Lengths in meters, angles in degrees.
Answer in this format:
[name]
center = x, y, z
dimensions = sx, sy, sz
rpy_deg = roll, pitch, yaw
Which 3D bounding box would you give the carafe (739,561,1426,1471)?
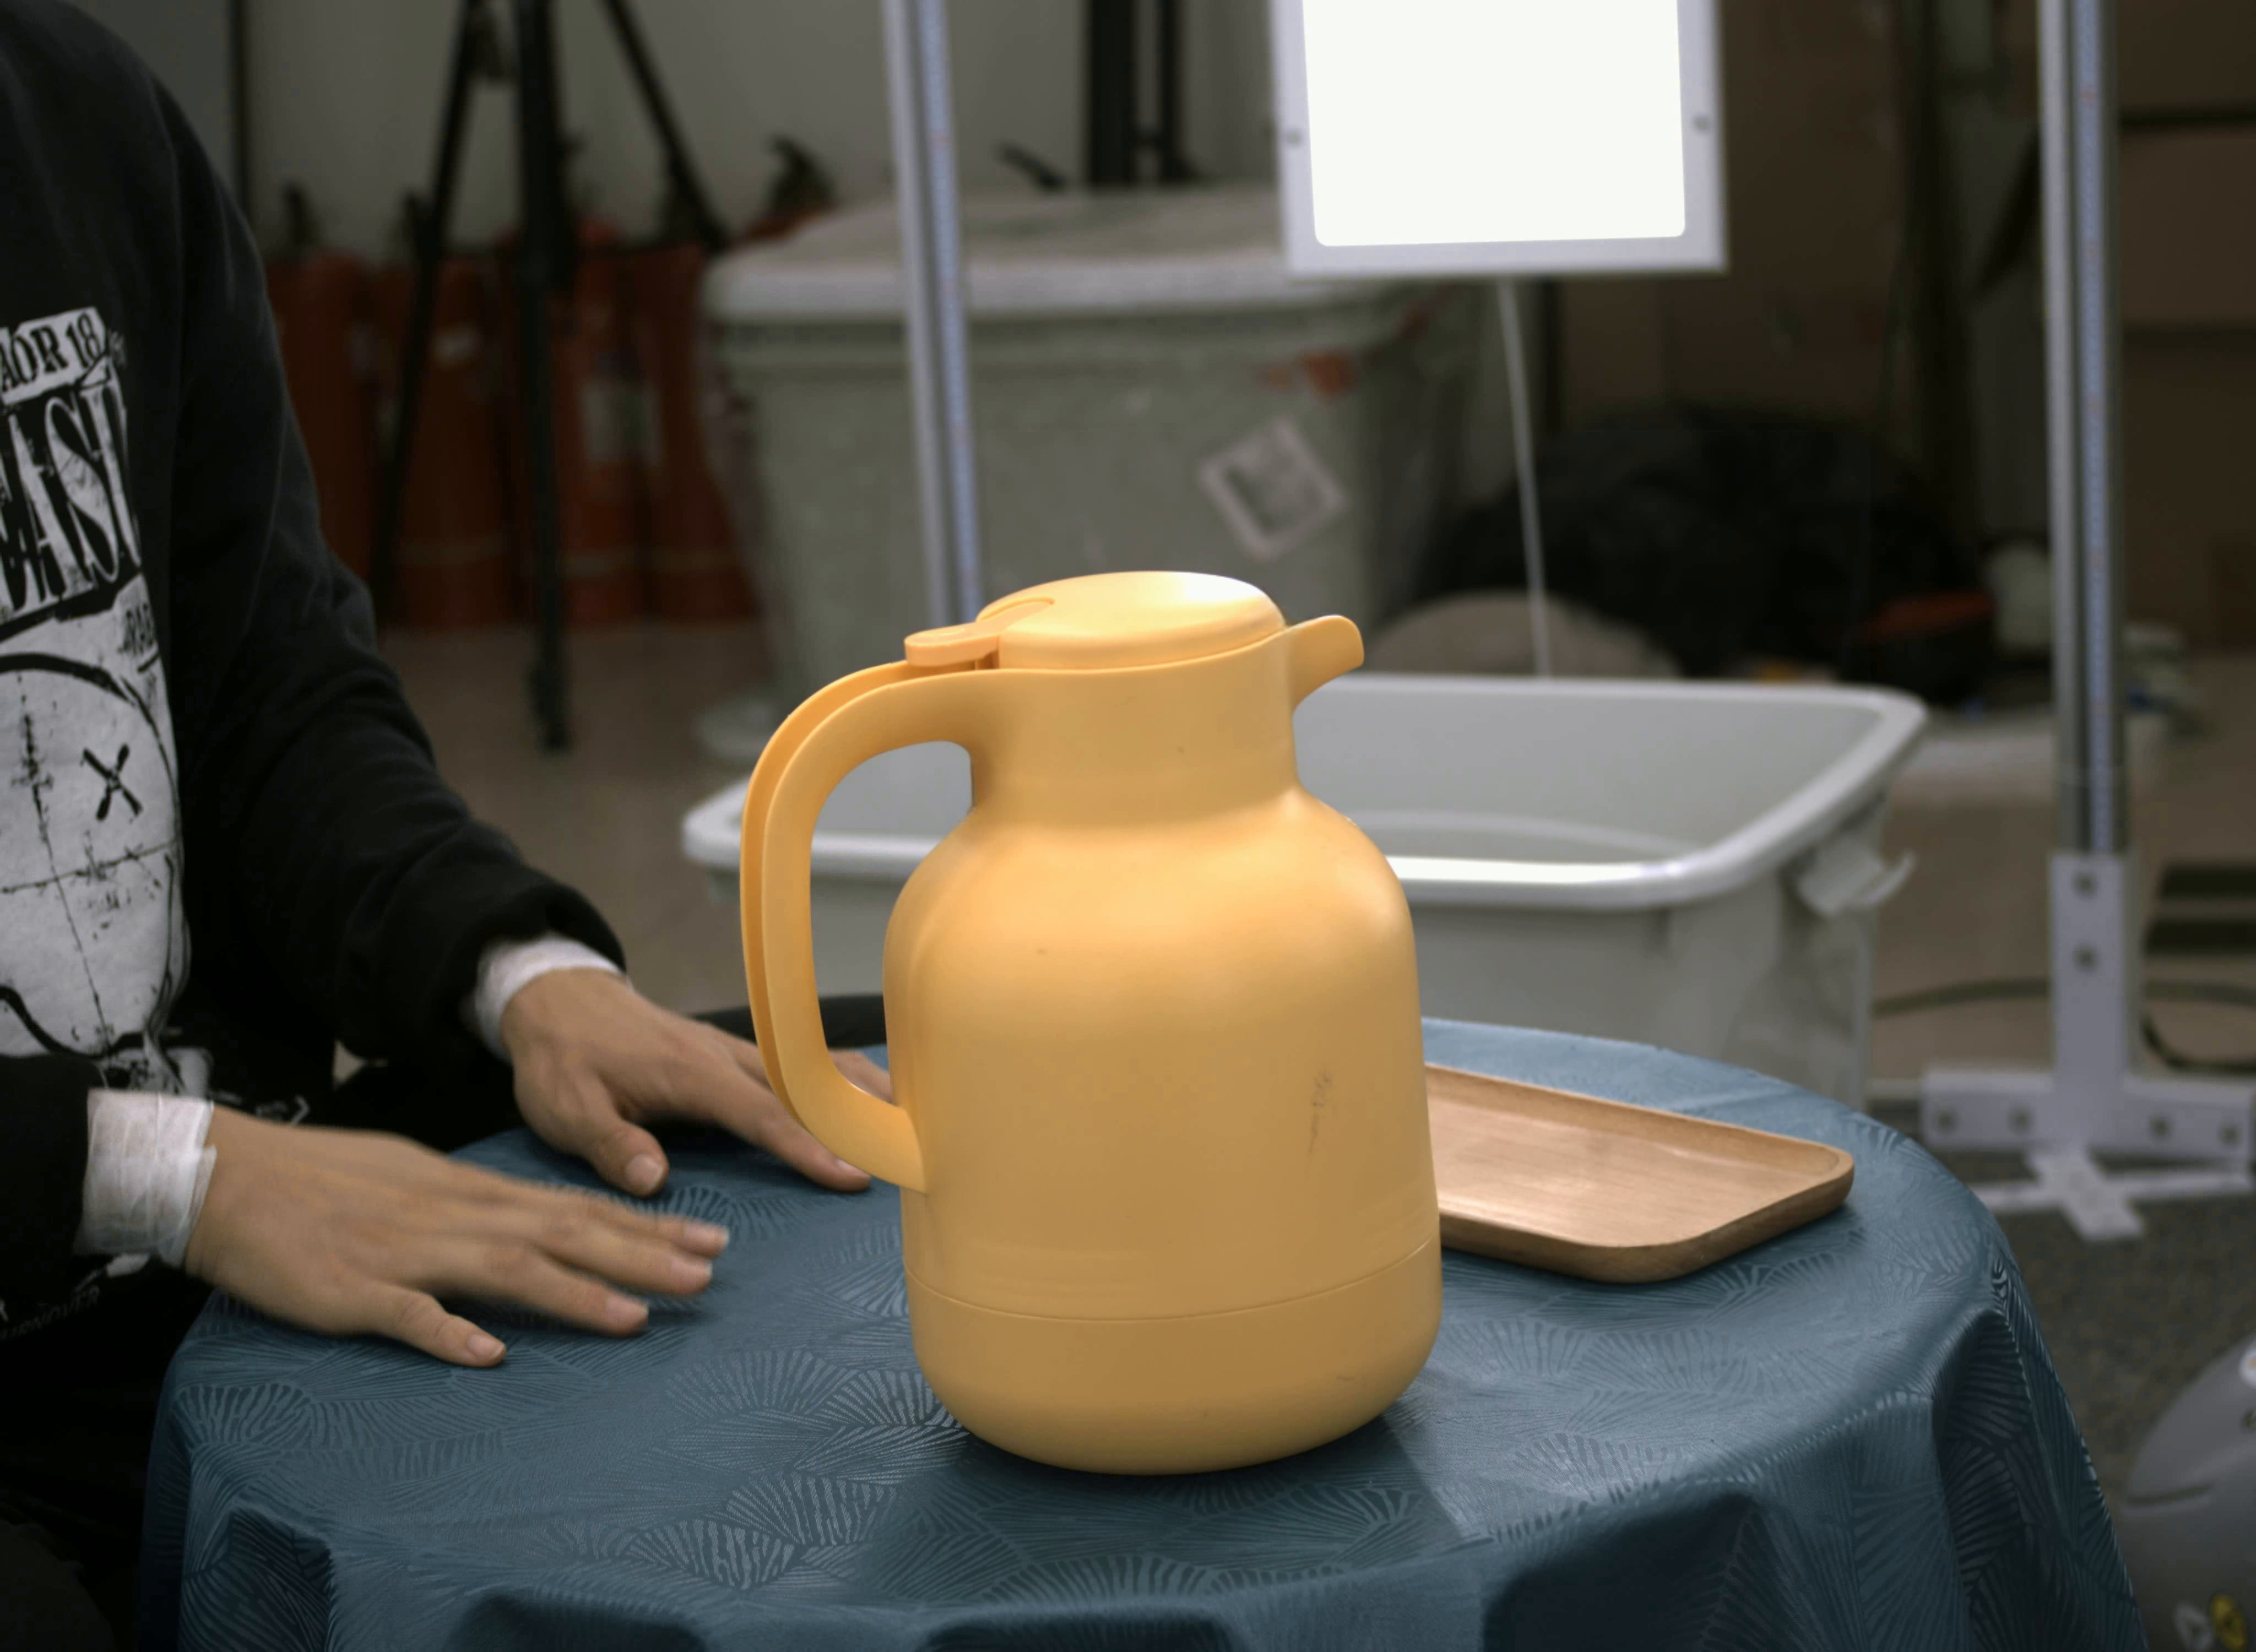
[carafe]
center = -0.014, 0.054, 1.643
dimensions = 0.199, 0.261, 0.165
rpy_deg = -6, 11, -14

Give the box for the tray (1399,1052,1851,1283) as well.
[tray]
center = 0.121, 0.114, 1.871
dimensions = 0.127, 0.023, 0.256
rpy_deg = -14, 16, -41
